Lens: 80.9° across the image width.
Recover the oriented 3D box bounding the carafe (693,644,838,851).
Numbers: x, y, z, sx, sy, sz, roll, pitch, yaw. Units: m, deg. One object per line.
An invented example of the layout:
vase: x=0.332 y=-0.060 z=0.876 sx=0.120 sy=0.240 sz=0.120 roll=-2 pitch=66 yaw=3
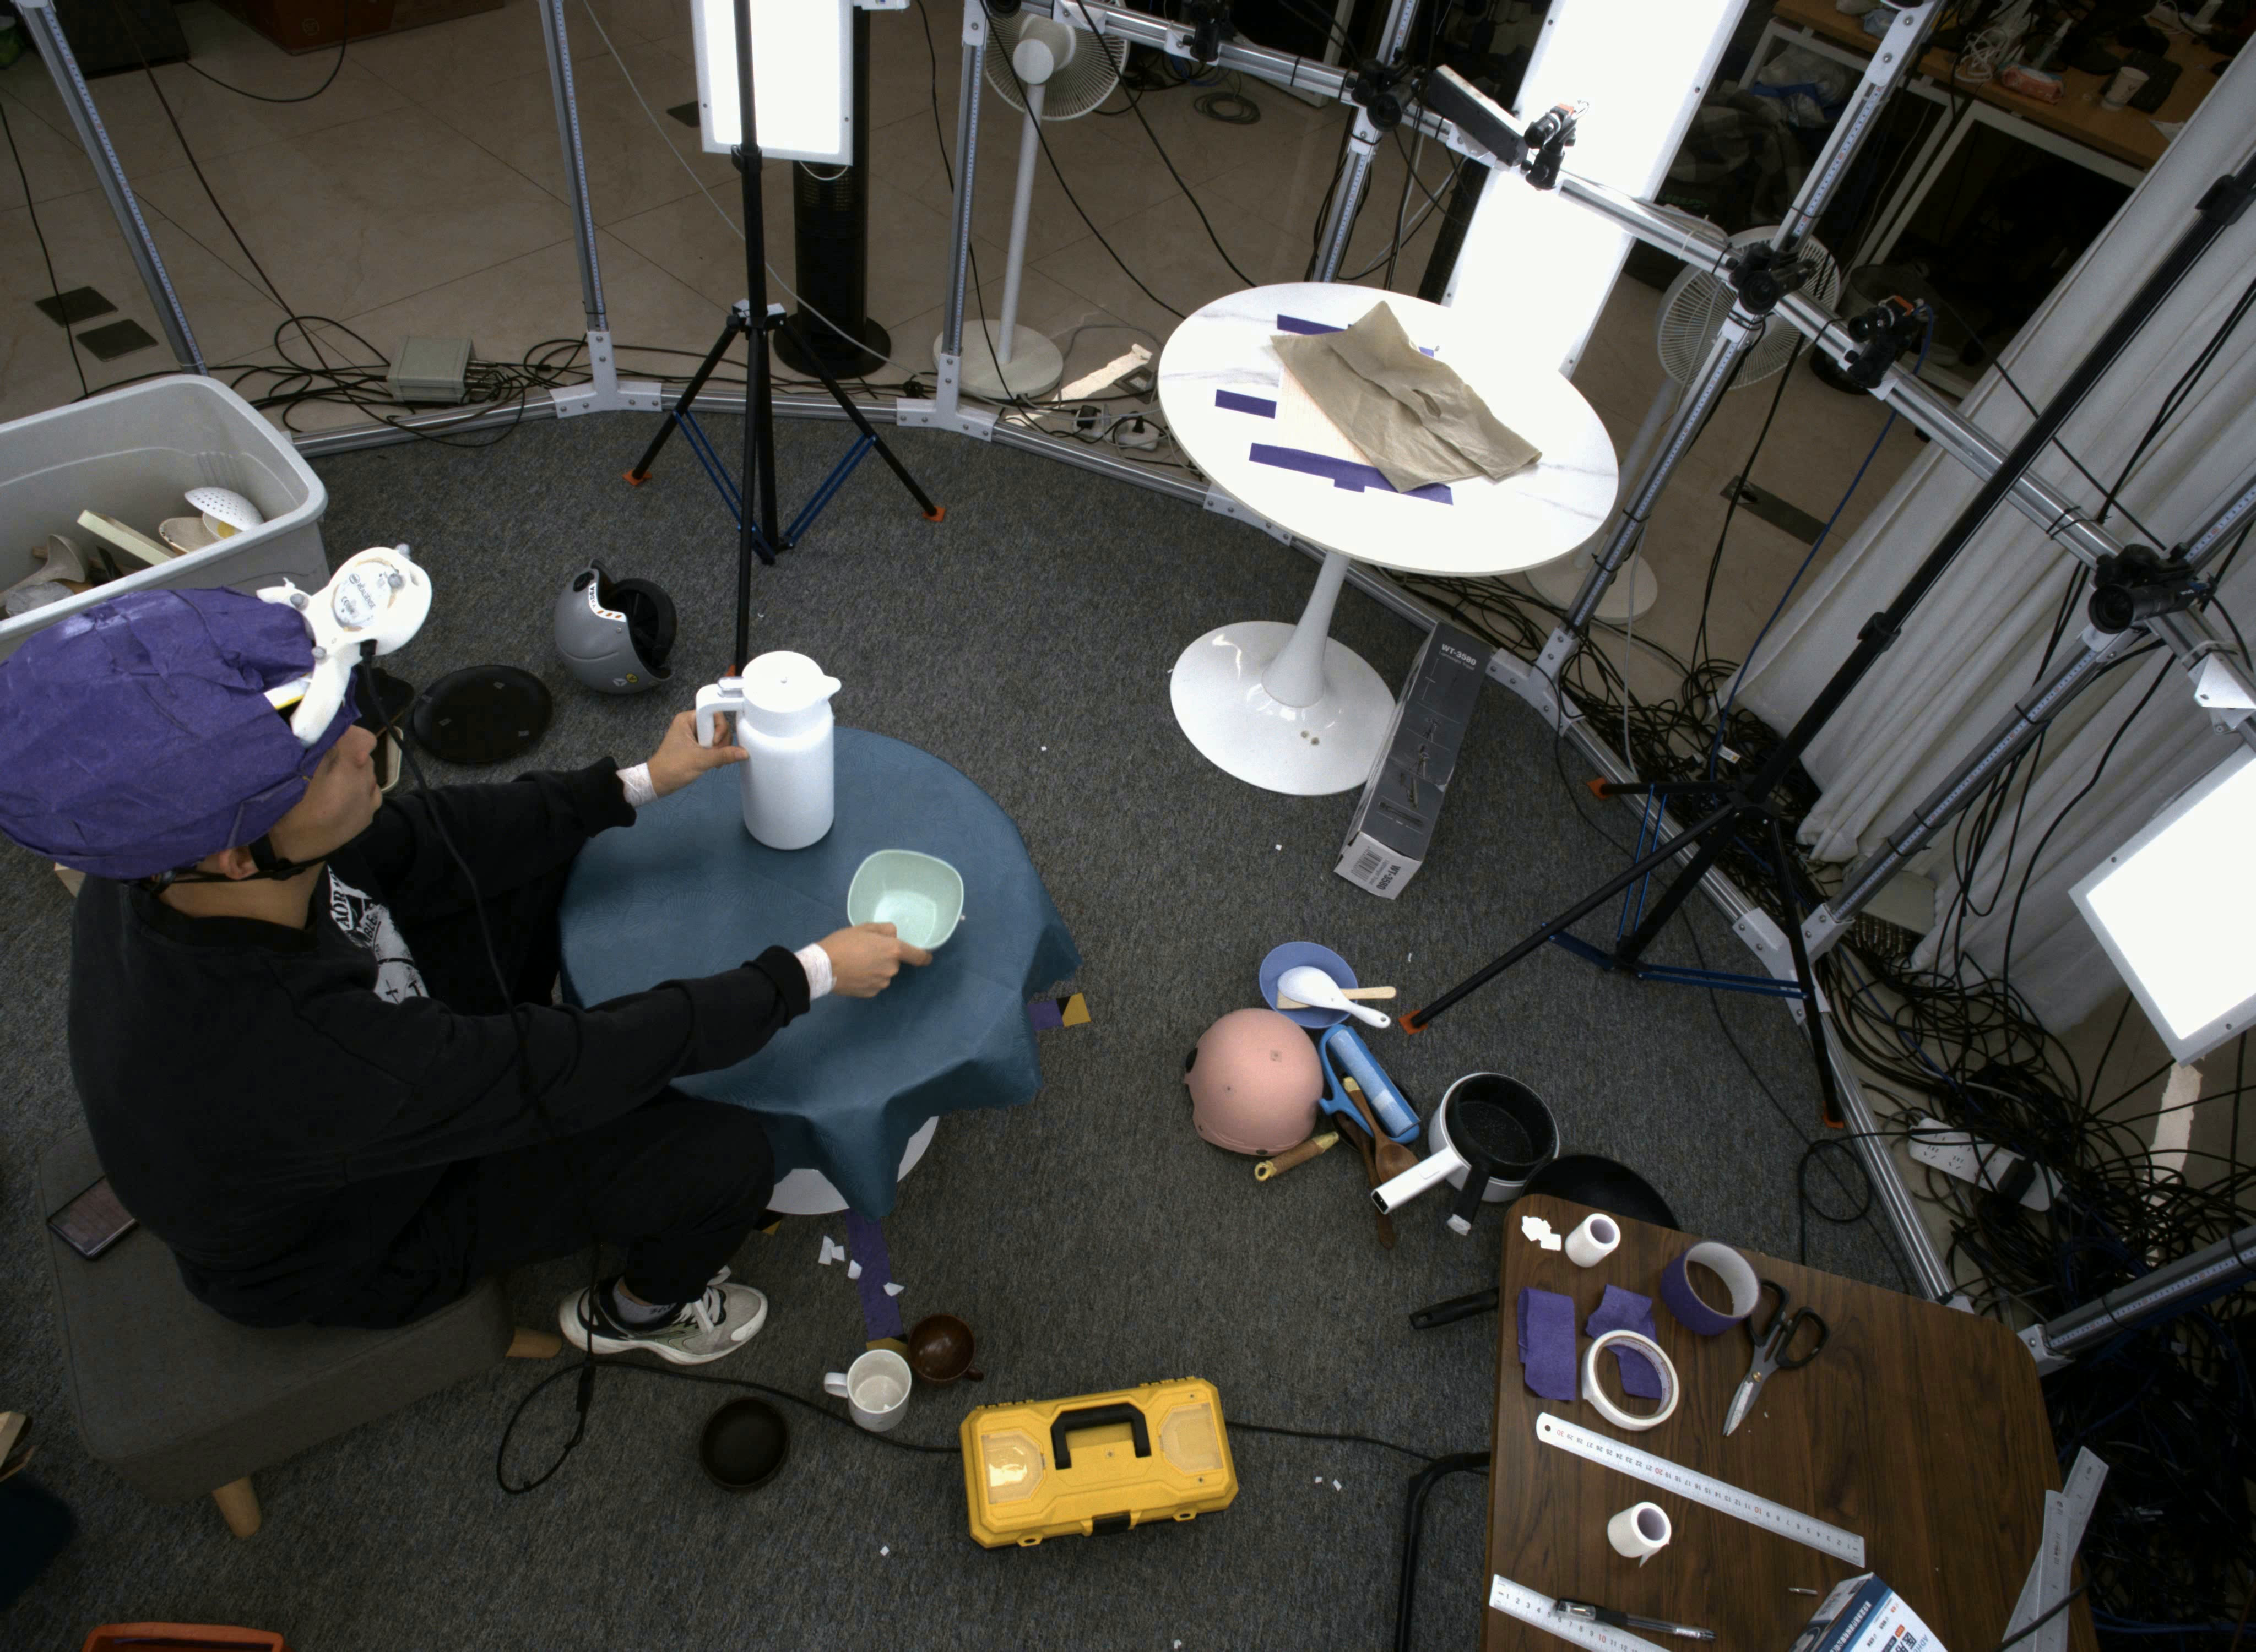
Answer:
carafe: x=-0.447 y=-0.092 z=1.612 sx=0.173 sy=0.274 sz=0.121 roll=-6 pitch=55 yaw=-17

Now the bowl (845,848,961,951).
bowl: x=-0.279 y=0.100 z=1.610 sx=0.151 sy=0.060 sz=0.149 roll=8 pitch=54 yaw=-9
